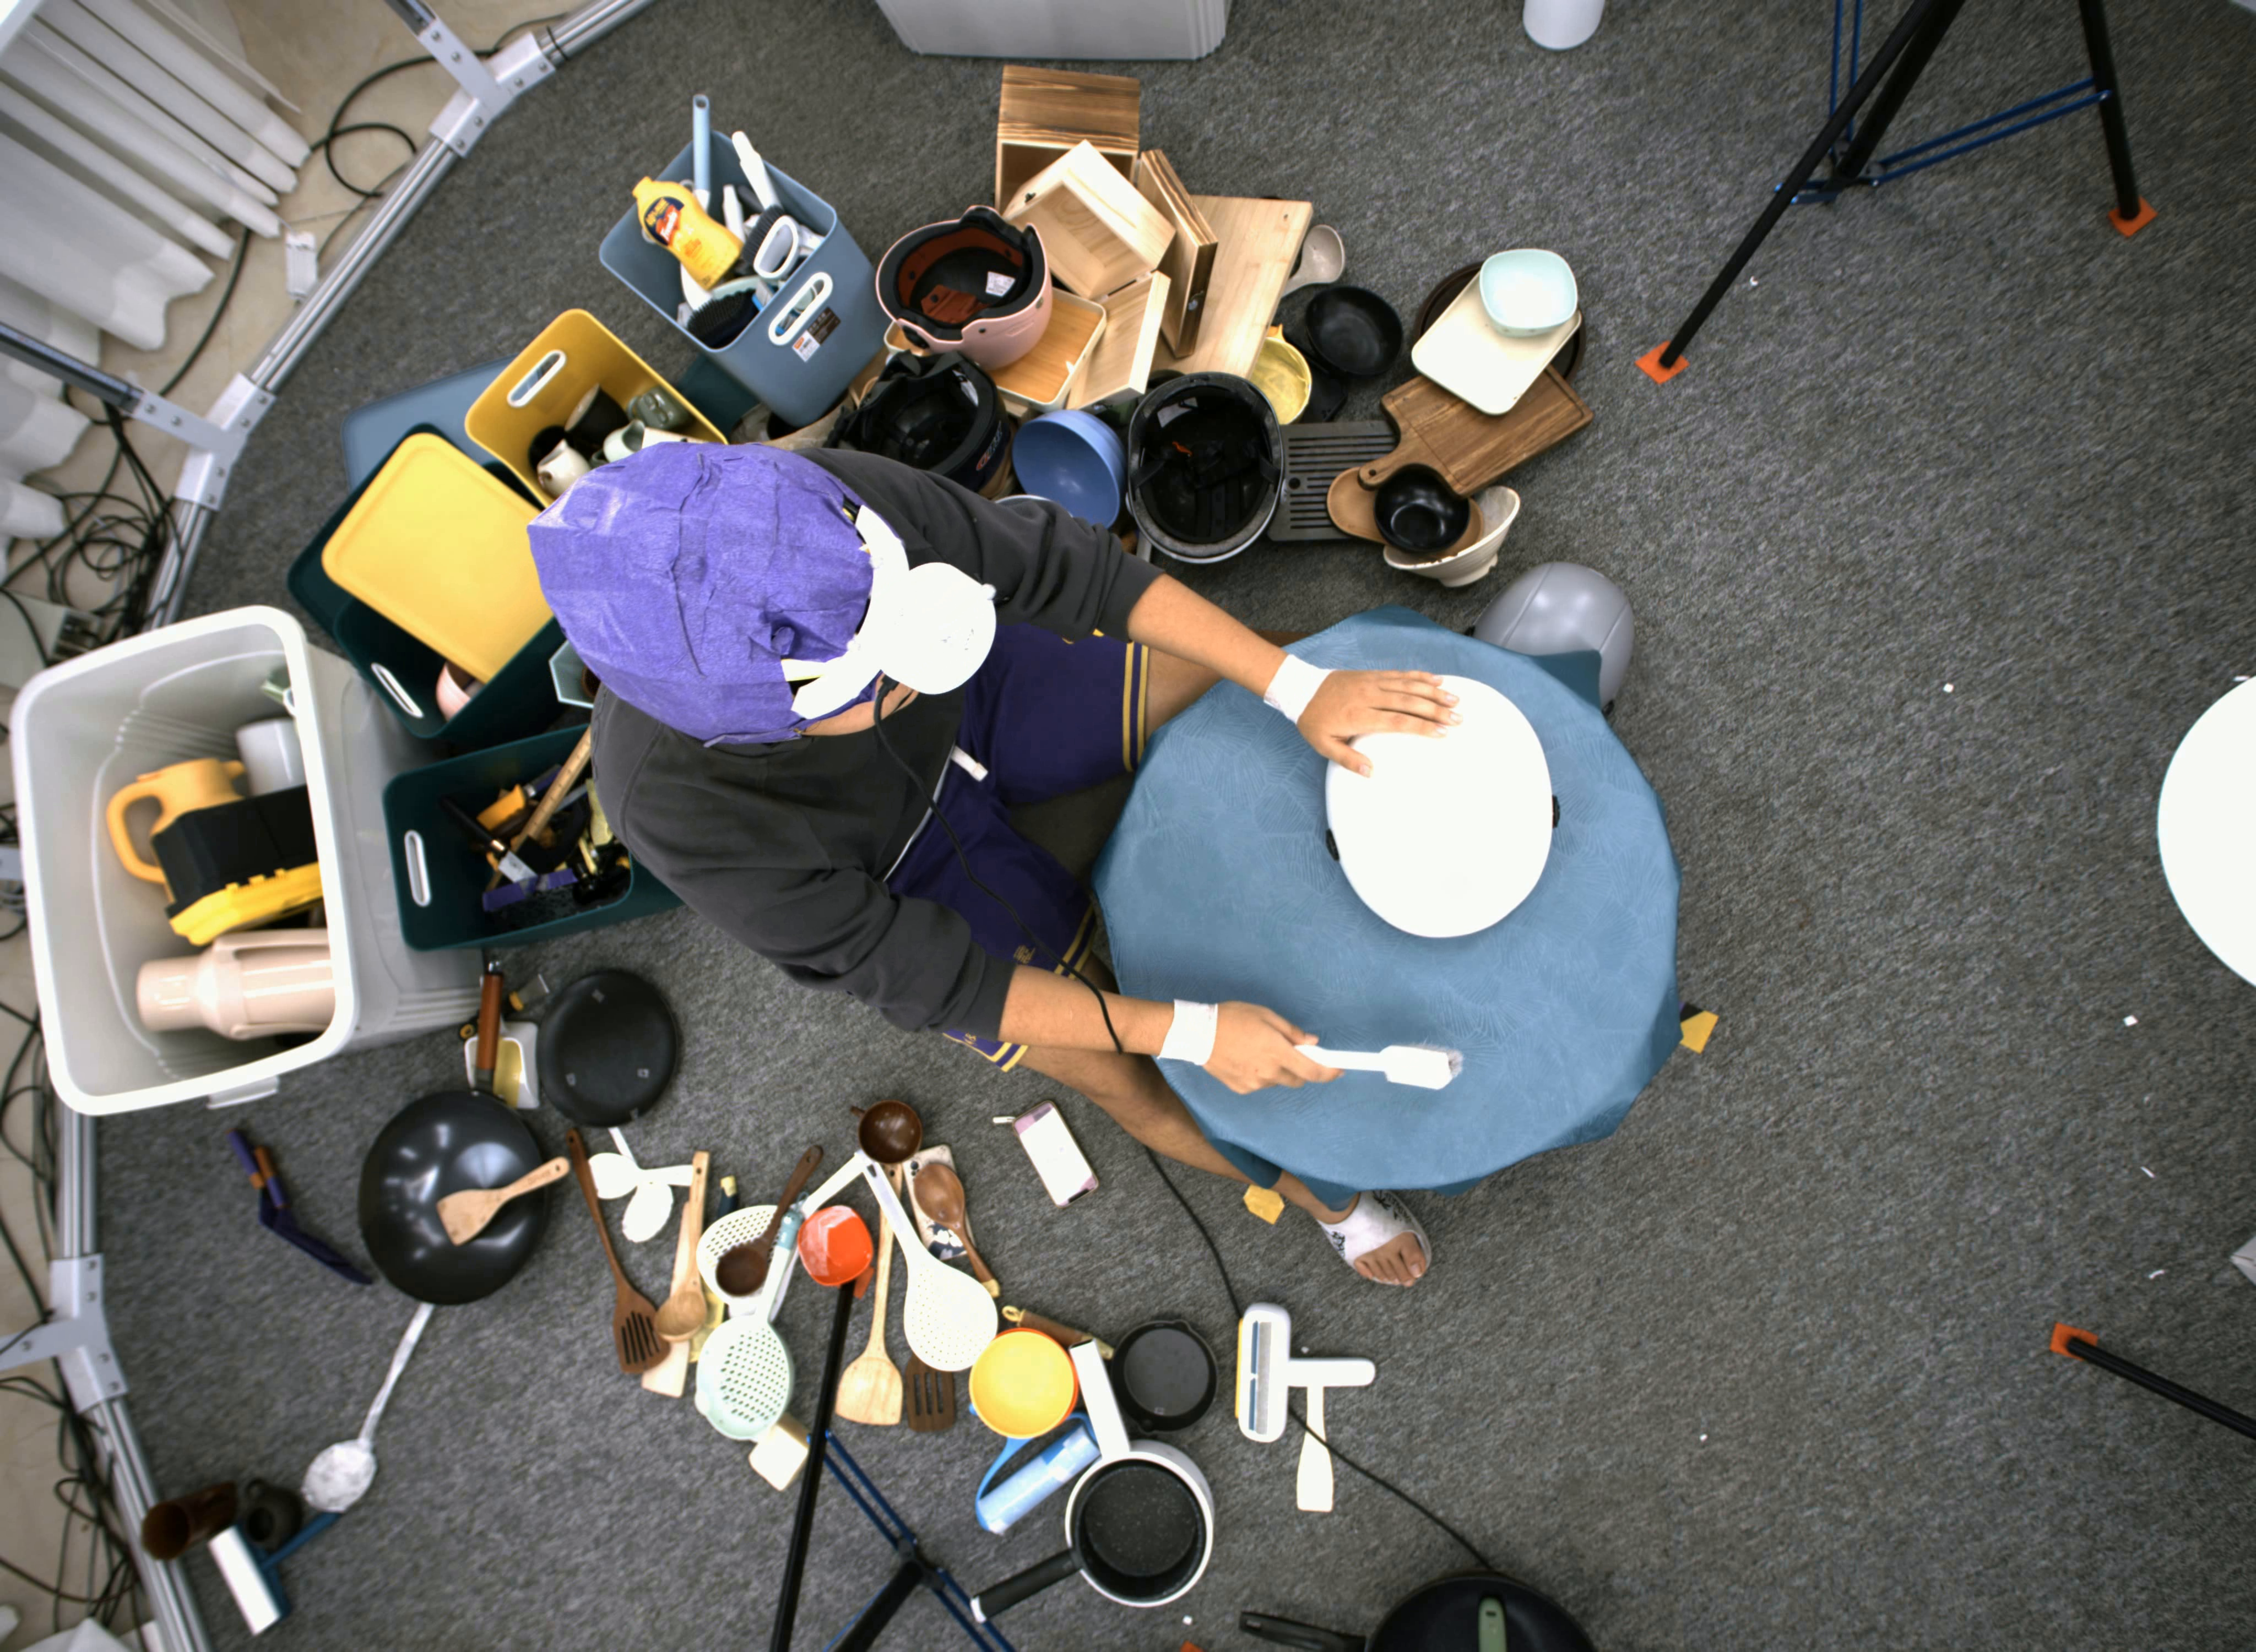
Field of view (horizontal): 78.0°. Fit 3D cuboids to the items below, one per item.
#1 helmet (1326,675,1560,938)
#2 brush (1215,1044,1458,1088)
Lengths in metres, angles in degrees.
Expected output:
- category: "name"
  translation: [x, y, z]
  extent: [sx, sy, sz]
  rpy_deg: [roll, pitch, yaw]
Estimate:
- category: "helmet"
  translation: [0.314, -0.026, 1.374]
  extent: [0.238, 0.167, 0.267]
  rpy_deg: [-7, 85, 9]
- category: "brush"
  translation: [0.209, 0.235, 1.395]
  extent: [0.245, 0.050, 0.034]
  rpy_deg: [0, 91, 24]
